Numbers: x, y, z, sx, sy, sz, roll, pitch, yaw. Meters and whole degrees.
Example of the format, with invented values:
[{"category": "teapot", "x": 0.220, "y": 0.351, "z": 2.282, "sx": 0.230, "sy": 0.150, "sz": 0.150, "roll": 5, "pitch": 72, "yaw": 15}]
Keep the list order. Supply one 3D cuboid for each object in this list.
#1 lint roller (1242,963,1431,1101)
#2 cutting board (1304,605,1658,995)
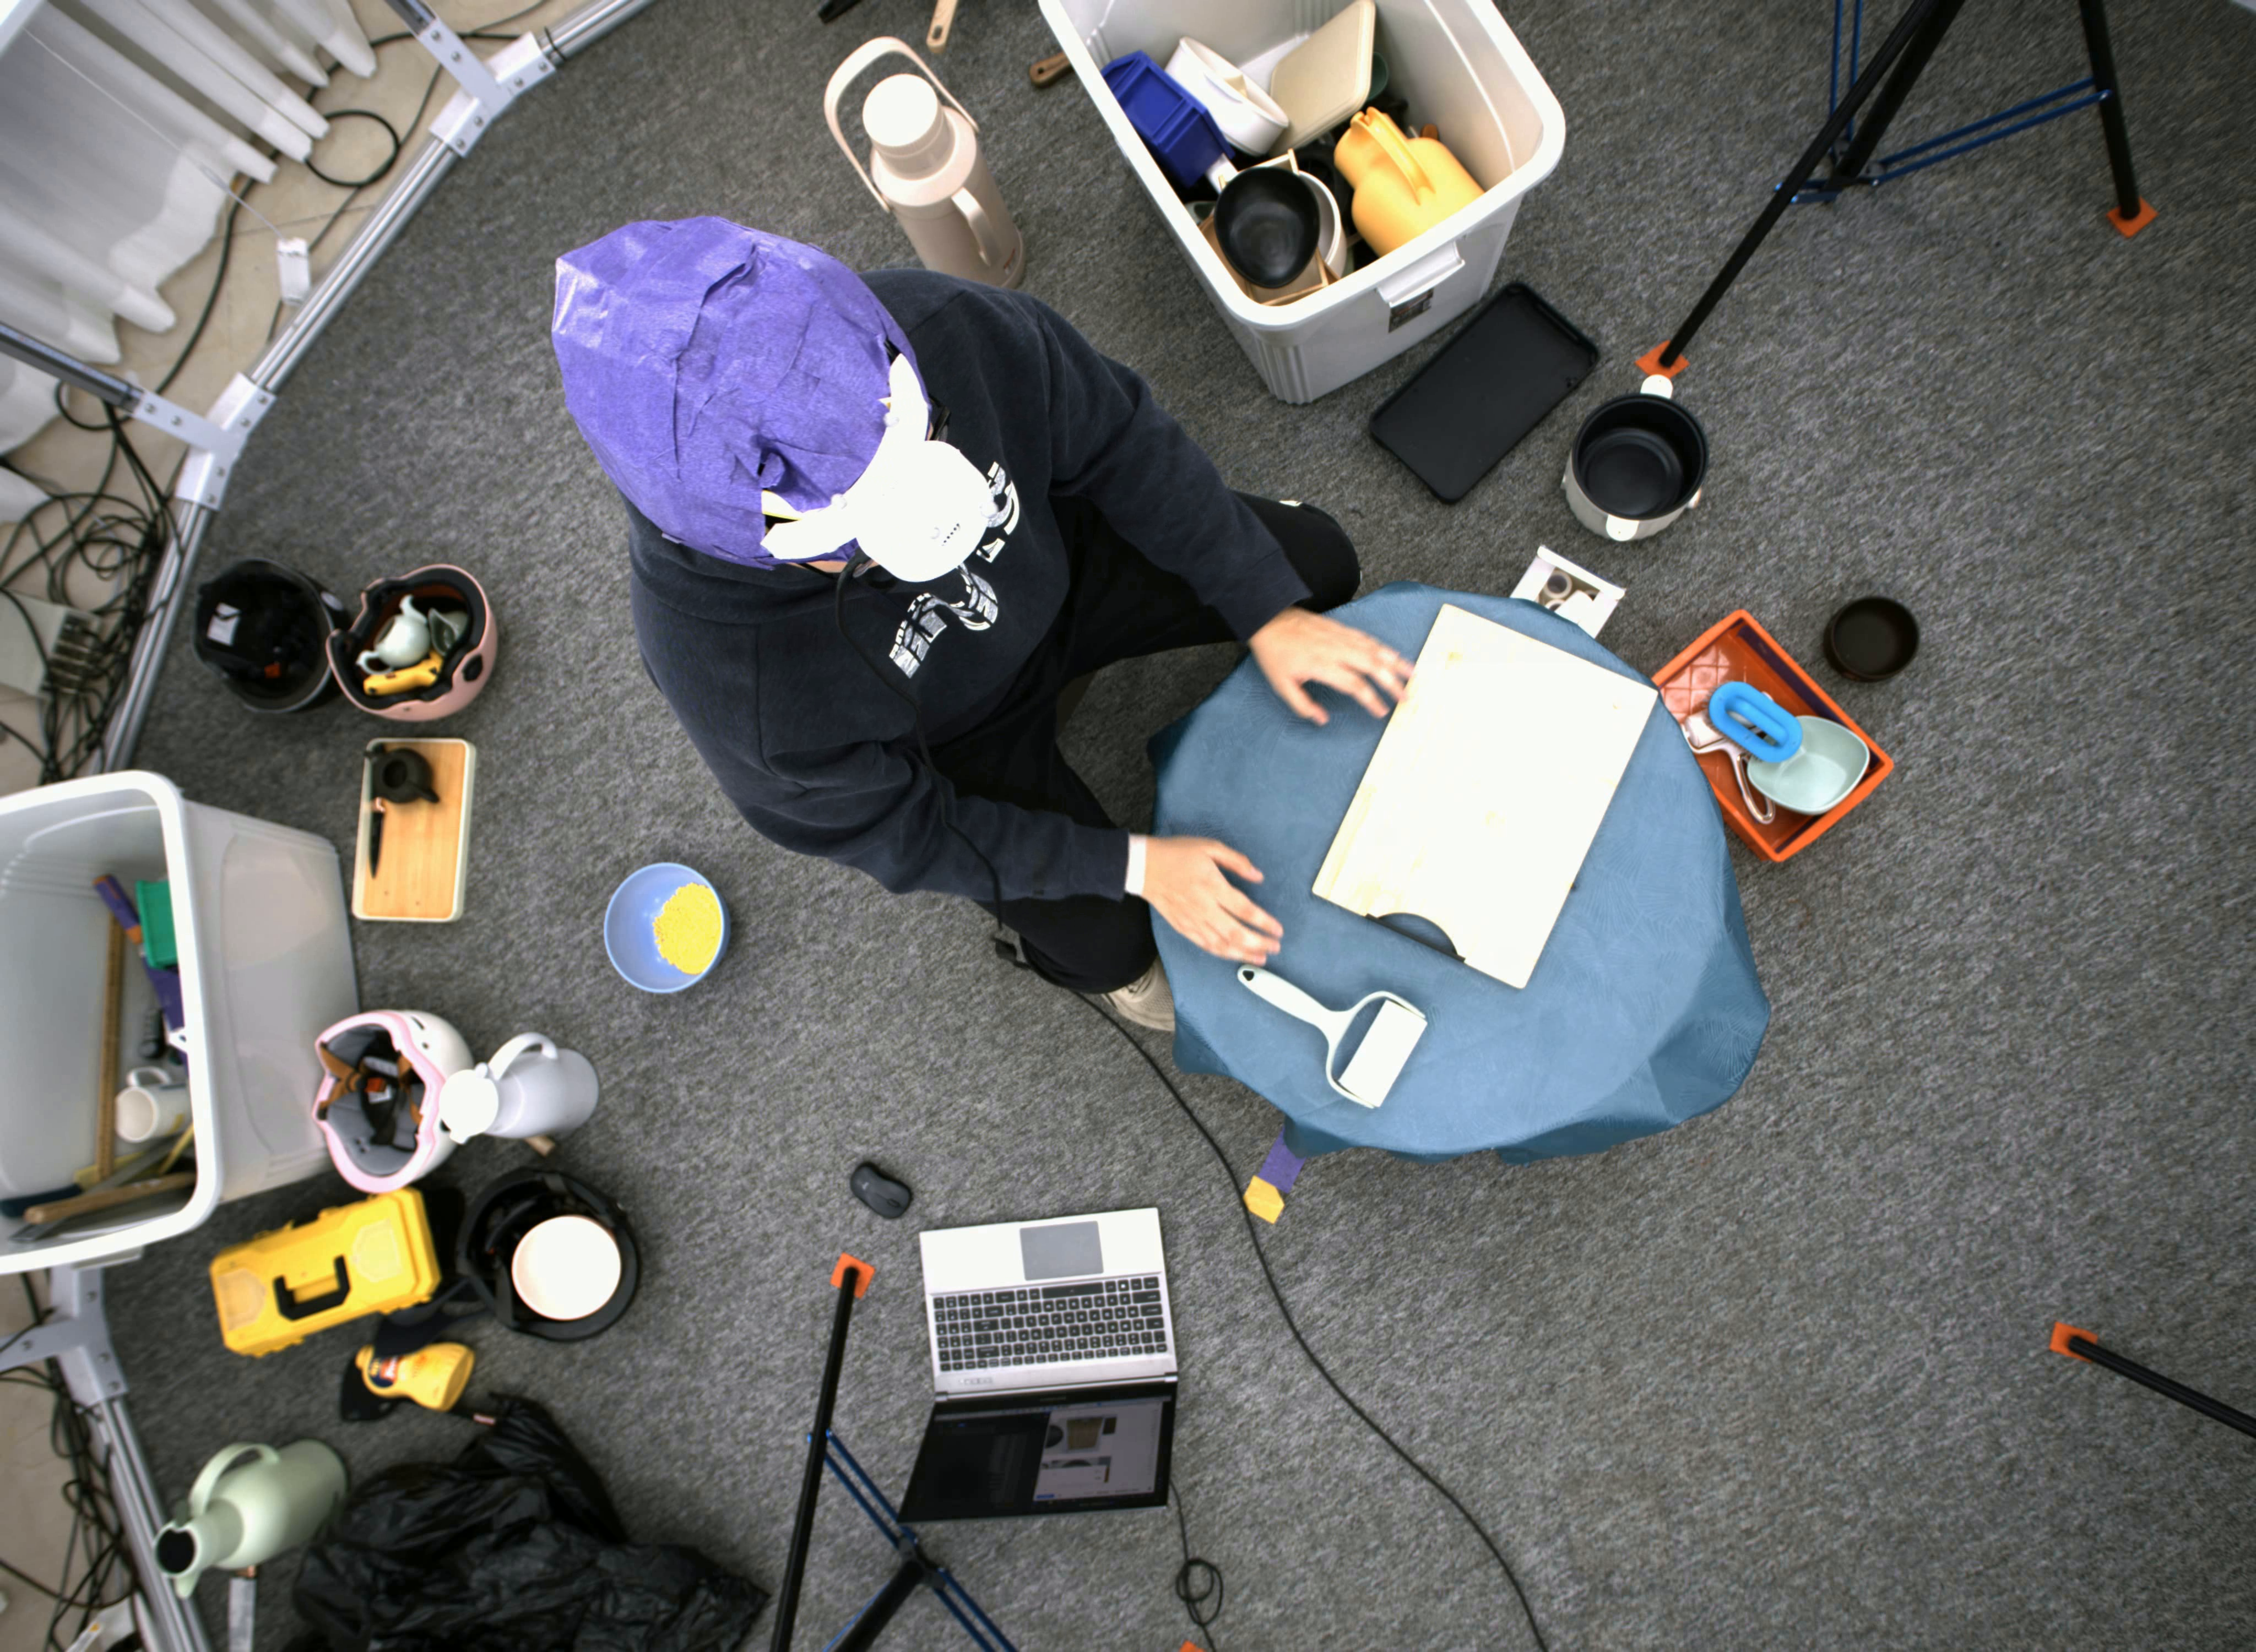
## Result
[{"category": "lint roller", "x": 0.206, "y": 0.191, "z": 1.444, "sx": 0.197, "sy": 0.048, "sz": 0.117, "roll": 29, "pitch": 94, "yaw": 14}, {"category": "cutting board", "x": 0.369, "y": -0.032, "z": 1.440, "sx": 0.250, "sy": 0.023, "sz": 0.349, "roll": 24, "pitch": 91, "yaw": 12}]
